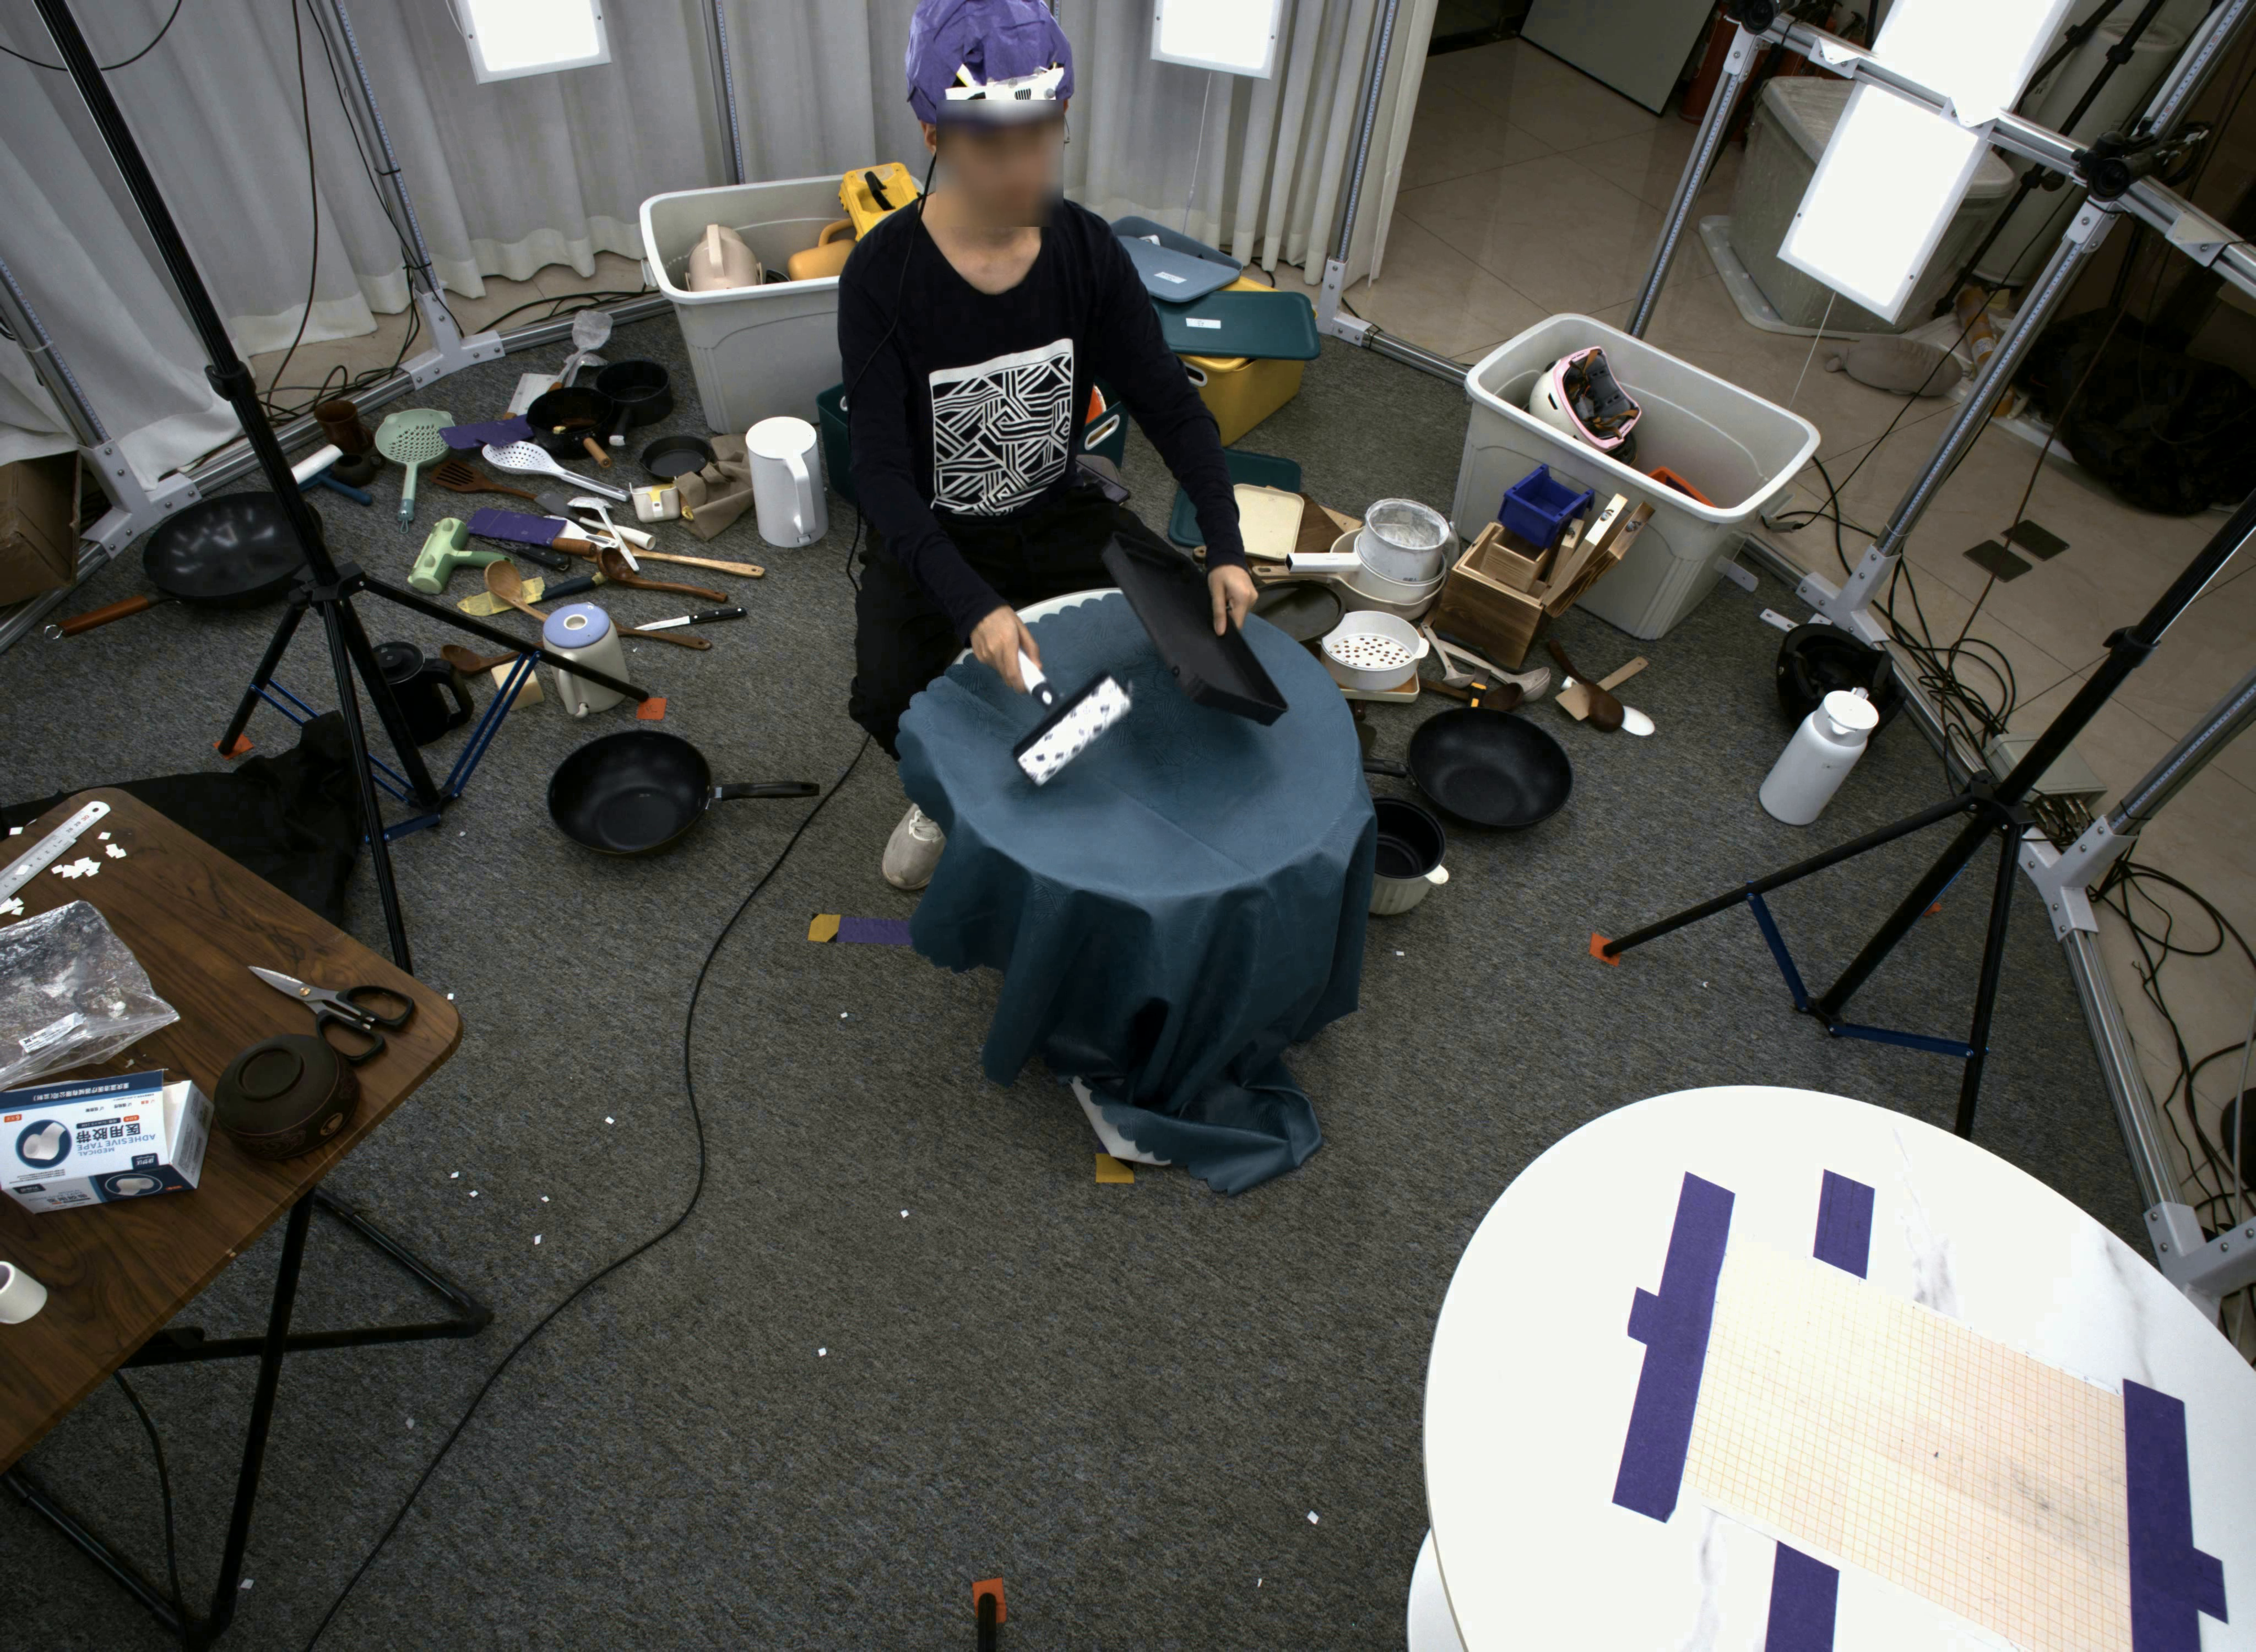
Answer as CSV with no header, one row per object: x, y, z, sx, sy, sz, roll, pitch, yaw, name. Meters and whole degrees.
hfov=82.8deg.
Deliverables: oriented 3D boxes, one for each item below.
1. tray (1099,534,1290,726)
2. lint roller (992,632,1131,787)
0.088,-0.269,1.760,0.182,0.036,0.325,11,40,-42,tray
-0.125,-0.185,1.730,0.176,0.049,0.252,-39,57,2,lint roller
